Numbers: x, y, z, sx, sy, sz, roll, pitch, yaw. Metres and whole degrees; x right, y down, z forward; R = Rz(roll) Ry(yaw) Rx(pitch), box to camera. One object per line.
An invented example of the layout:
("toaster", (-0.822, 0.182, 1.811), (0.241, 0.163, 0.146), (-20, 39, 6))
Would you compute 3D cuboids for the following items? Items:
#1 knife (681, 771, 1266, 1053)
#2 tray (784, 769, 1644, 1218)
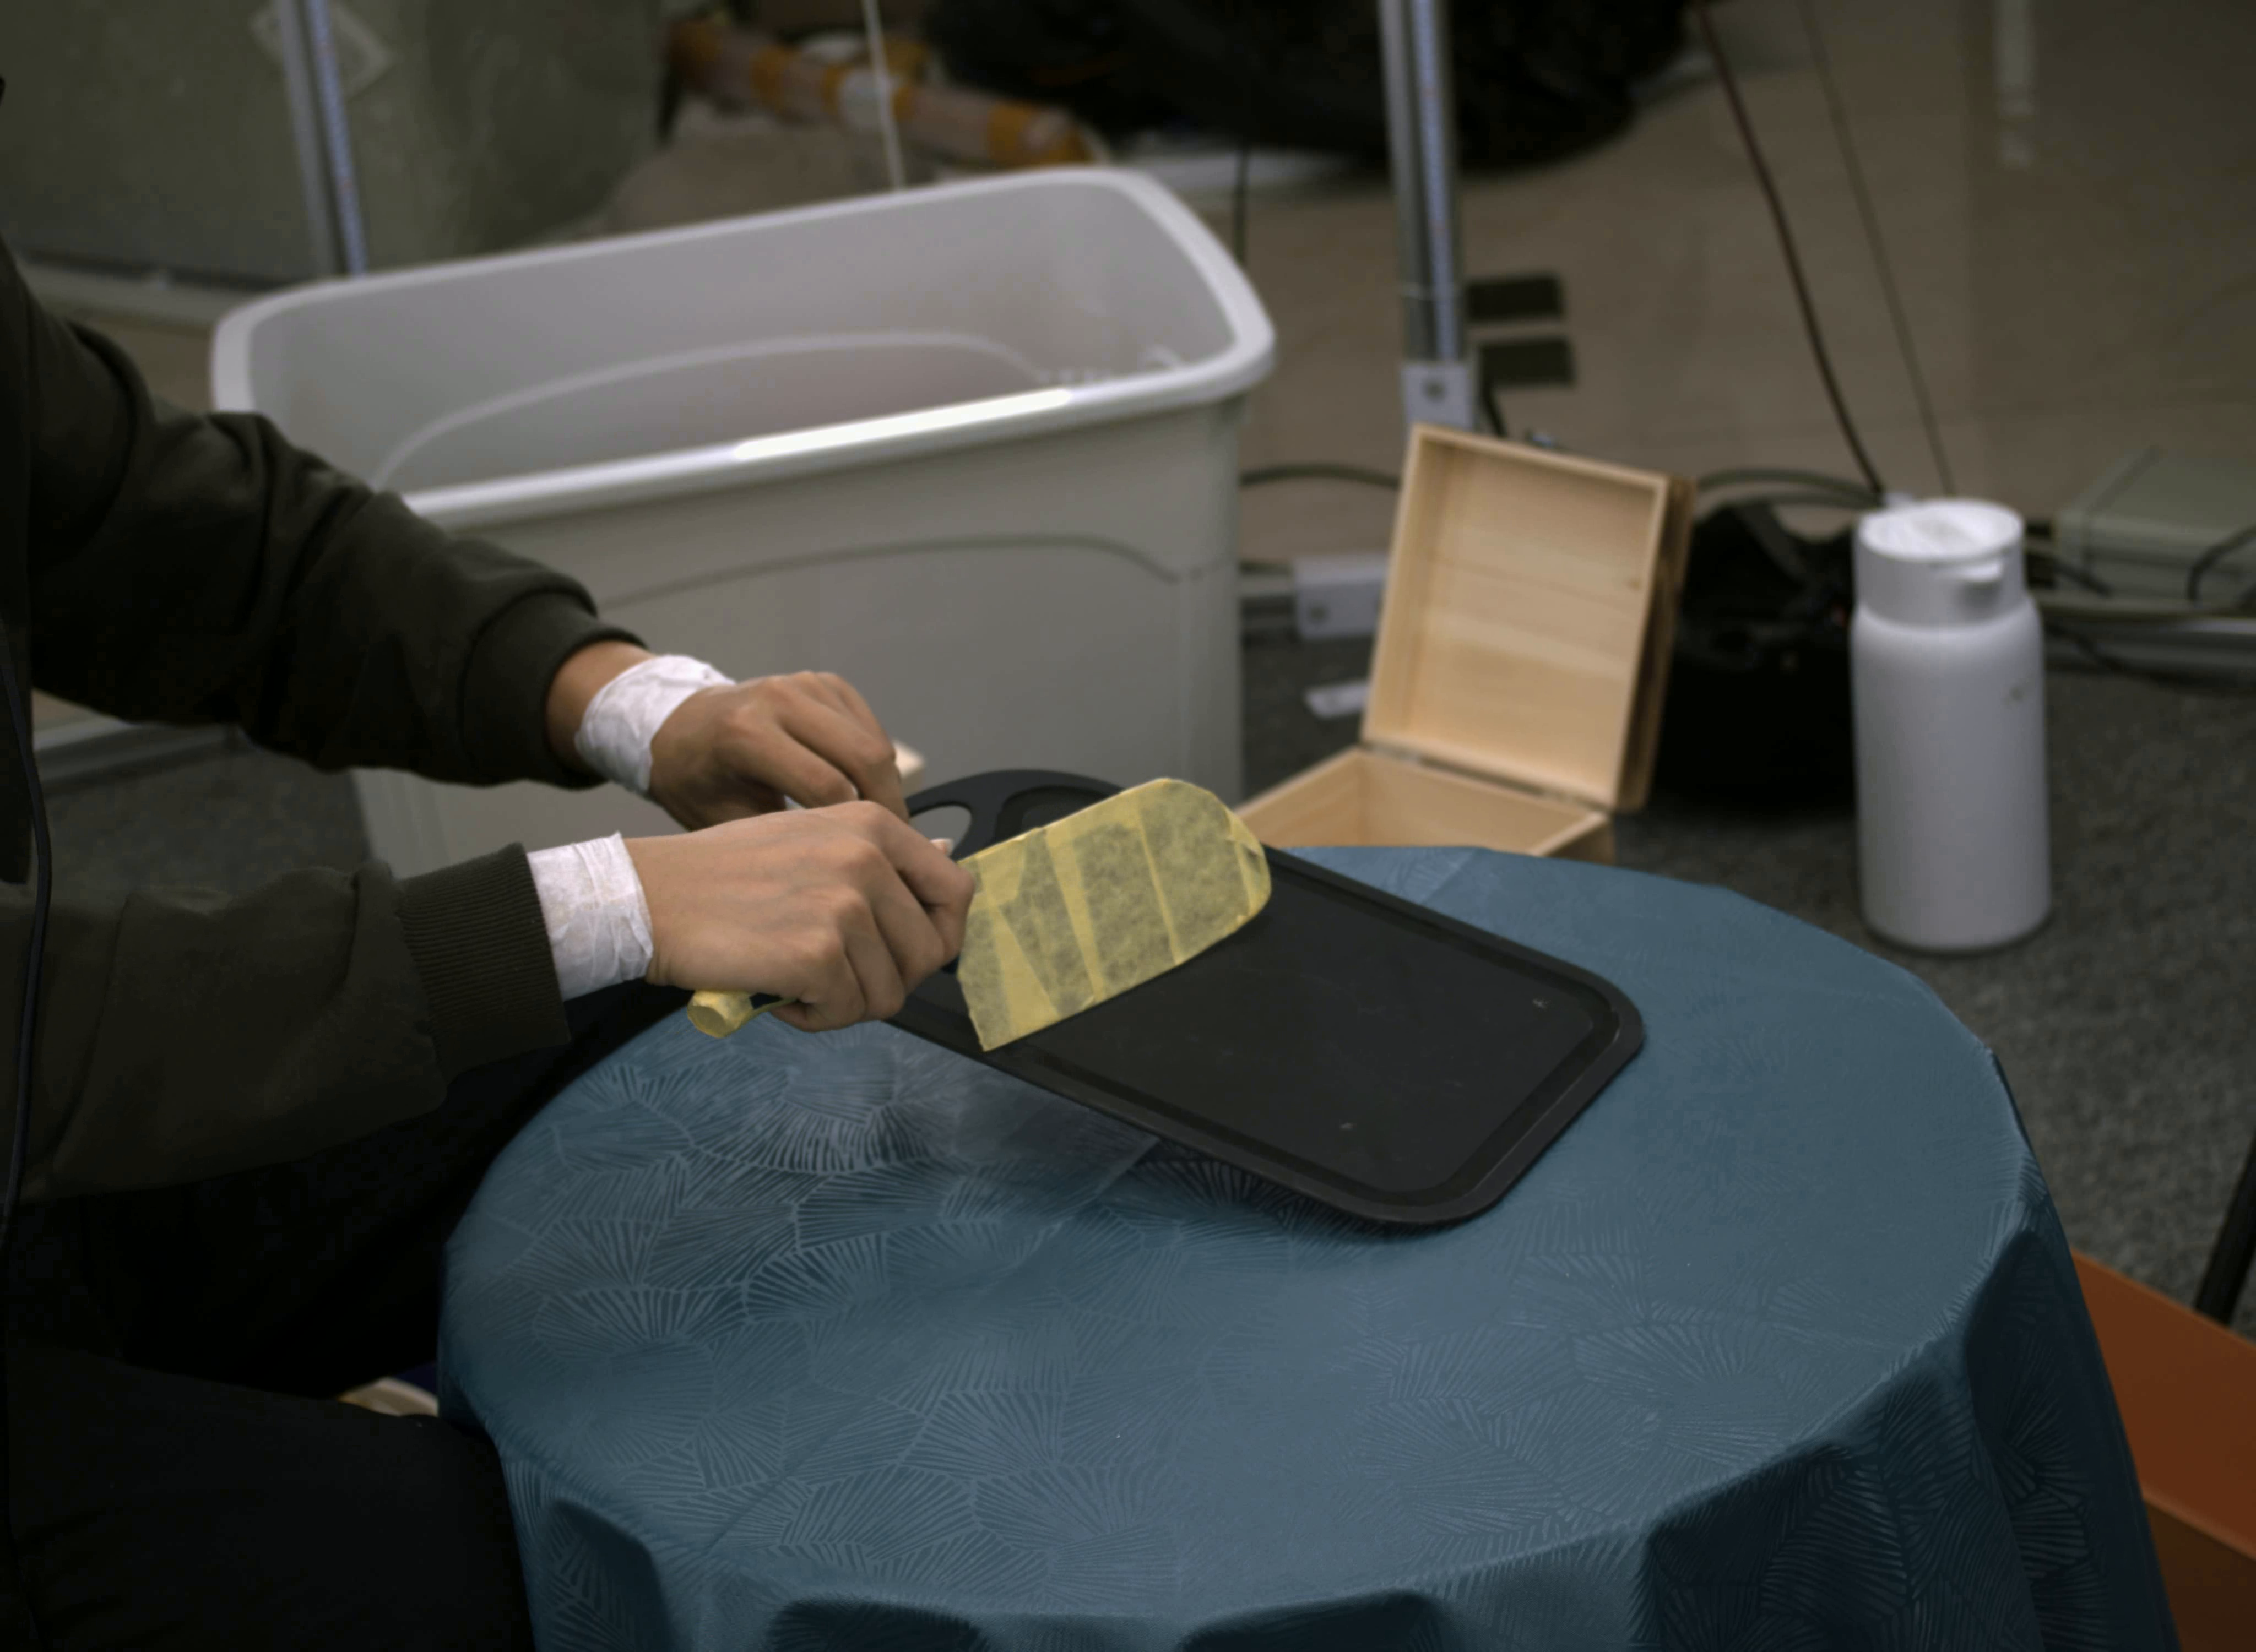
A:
("knife", (-0.051, 0.043, 2.158), (0.287, 0.081, 0.027), (-19, 7, -38))
("tray", (0.027, 0.058, 2.215), (0.323, 0.010, 0.208), (22, 34, 21))
